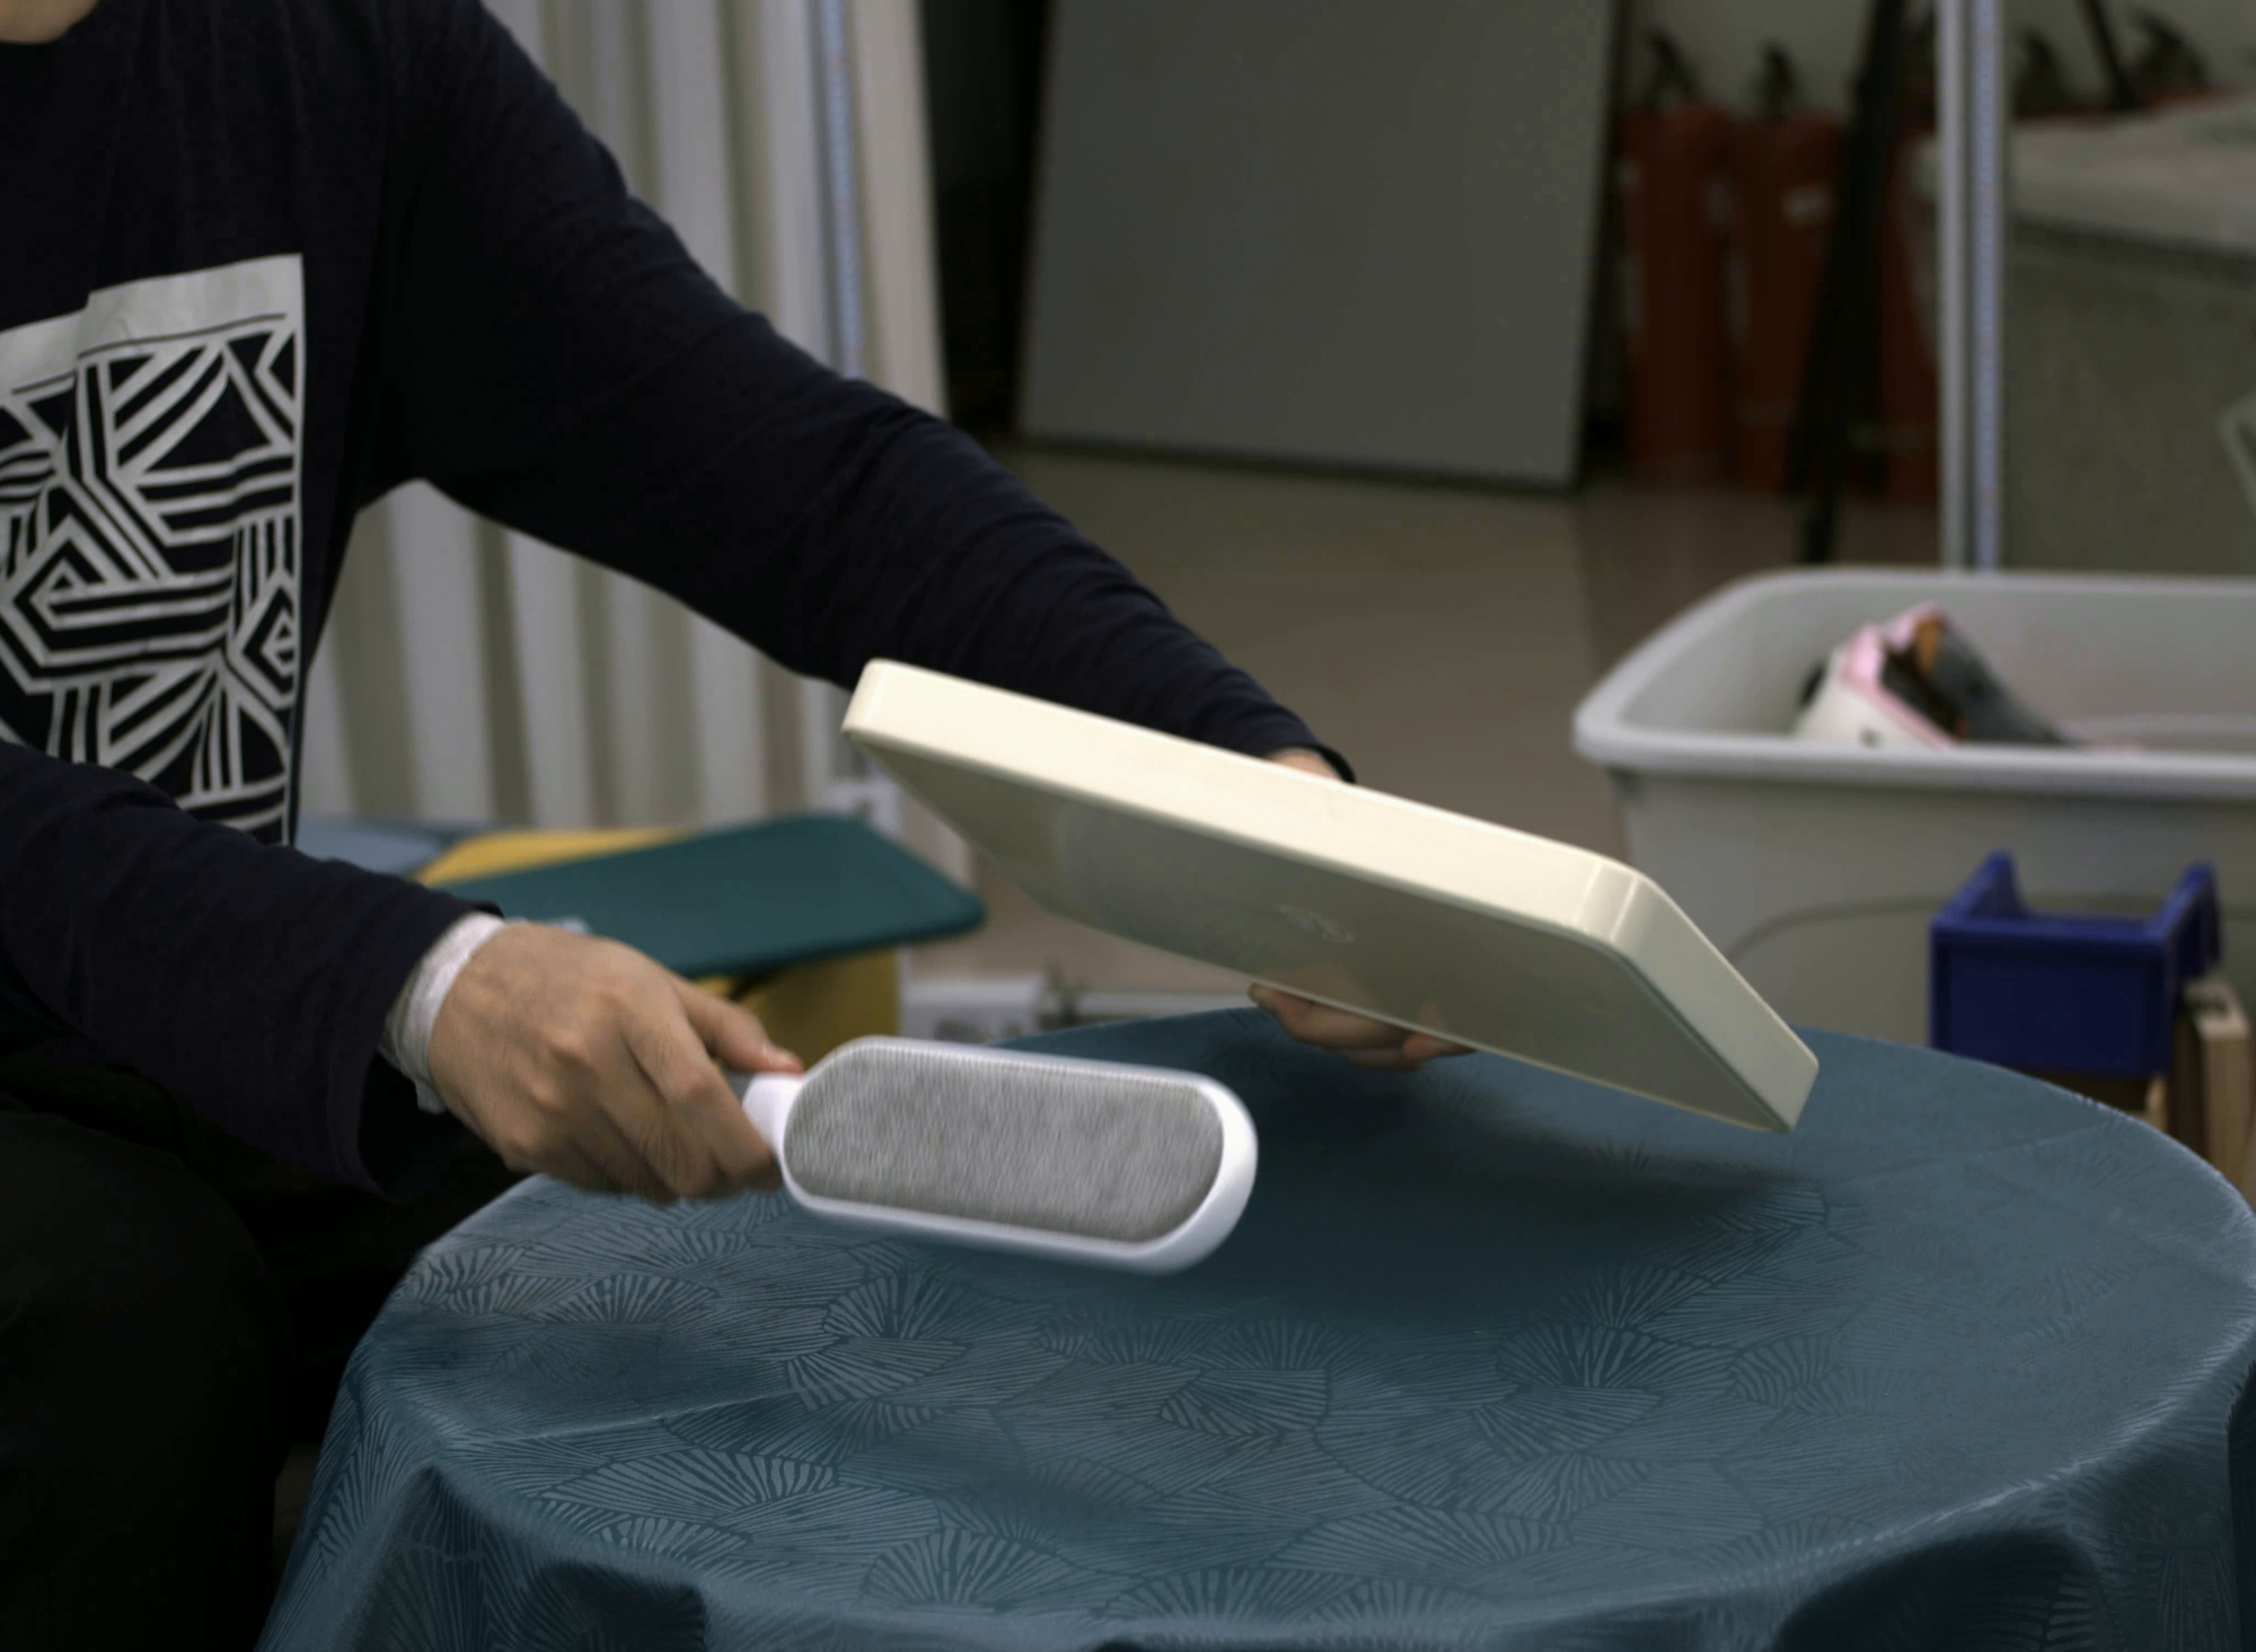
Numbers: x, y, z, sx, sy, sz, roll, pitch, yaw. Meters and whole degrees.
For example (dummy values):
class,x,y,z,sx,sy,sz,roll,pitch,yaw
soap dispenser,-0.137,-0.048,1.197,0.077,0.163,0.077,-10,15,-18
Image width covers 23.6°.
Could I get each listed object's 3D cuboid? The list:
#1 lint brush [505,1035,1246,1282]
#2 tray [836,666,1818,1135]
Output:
class,x,y,z,sx,sy,sz,roll,pitch,yaw
lint brush,-0.081,0.091,1.592,0.312,0.060,0.020,4,-19,45
tray,0.064,0.025,1.746,0.302,0.027,0.189,14,-17,33
